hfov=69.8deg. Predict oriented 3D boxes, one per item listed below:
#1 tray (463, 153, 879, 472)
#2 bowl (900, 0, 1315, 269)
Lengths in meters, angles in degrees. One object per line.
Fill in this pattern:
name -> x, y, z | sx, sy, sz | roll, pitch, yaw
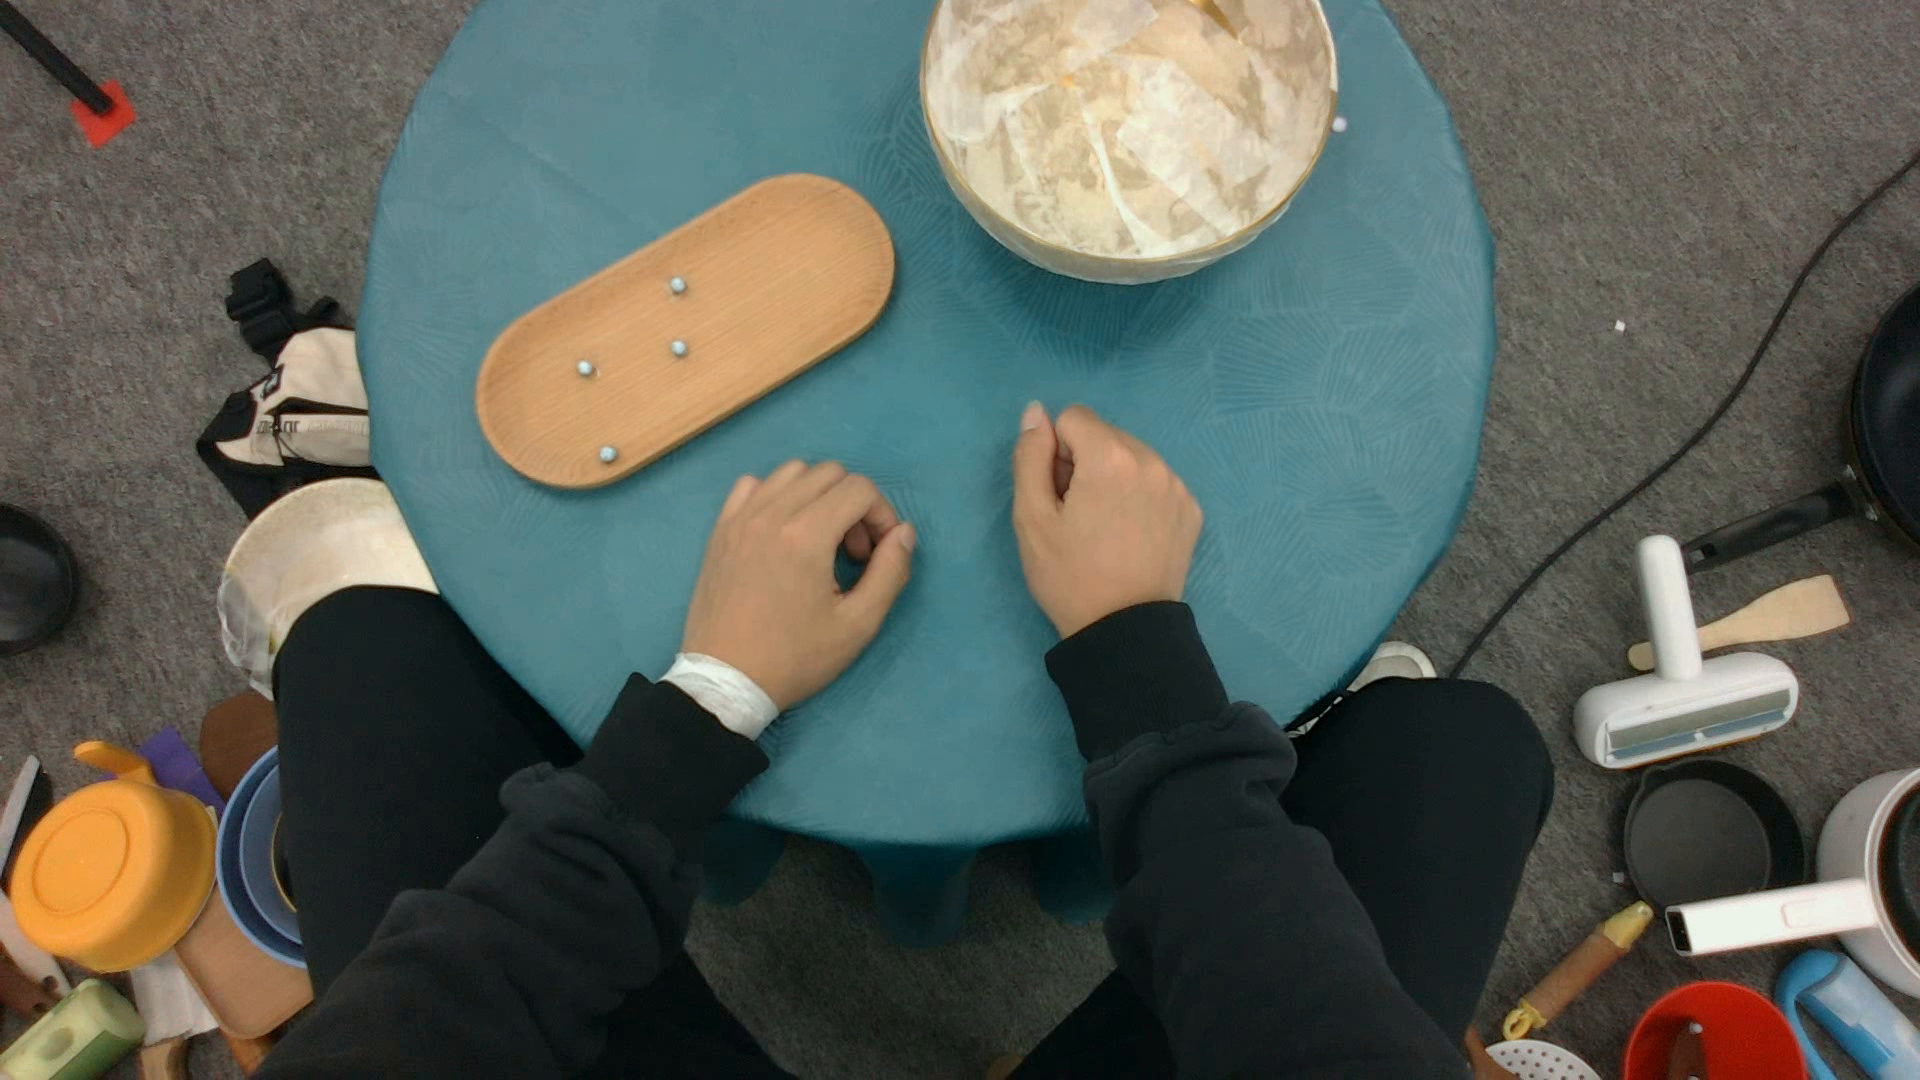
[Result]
tray -> -0.147, -0.119, 0.714 | 0.231, 0.020, 0.102 | -33, 82, -11
bowl -> 0.067, -0.223, 0.708 | 0.215, 0.094, 0.215 | 1, 77, -2
